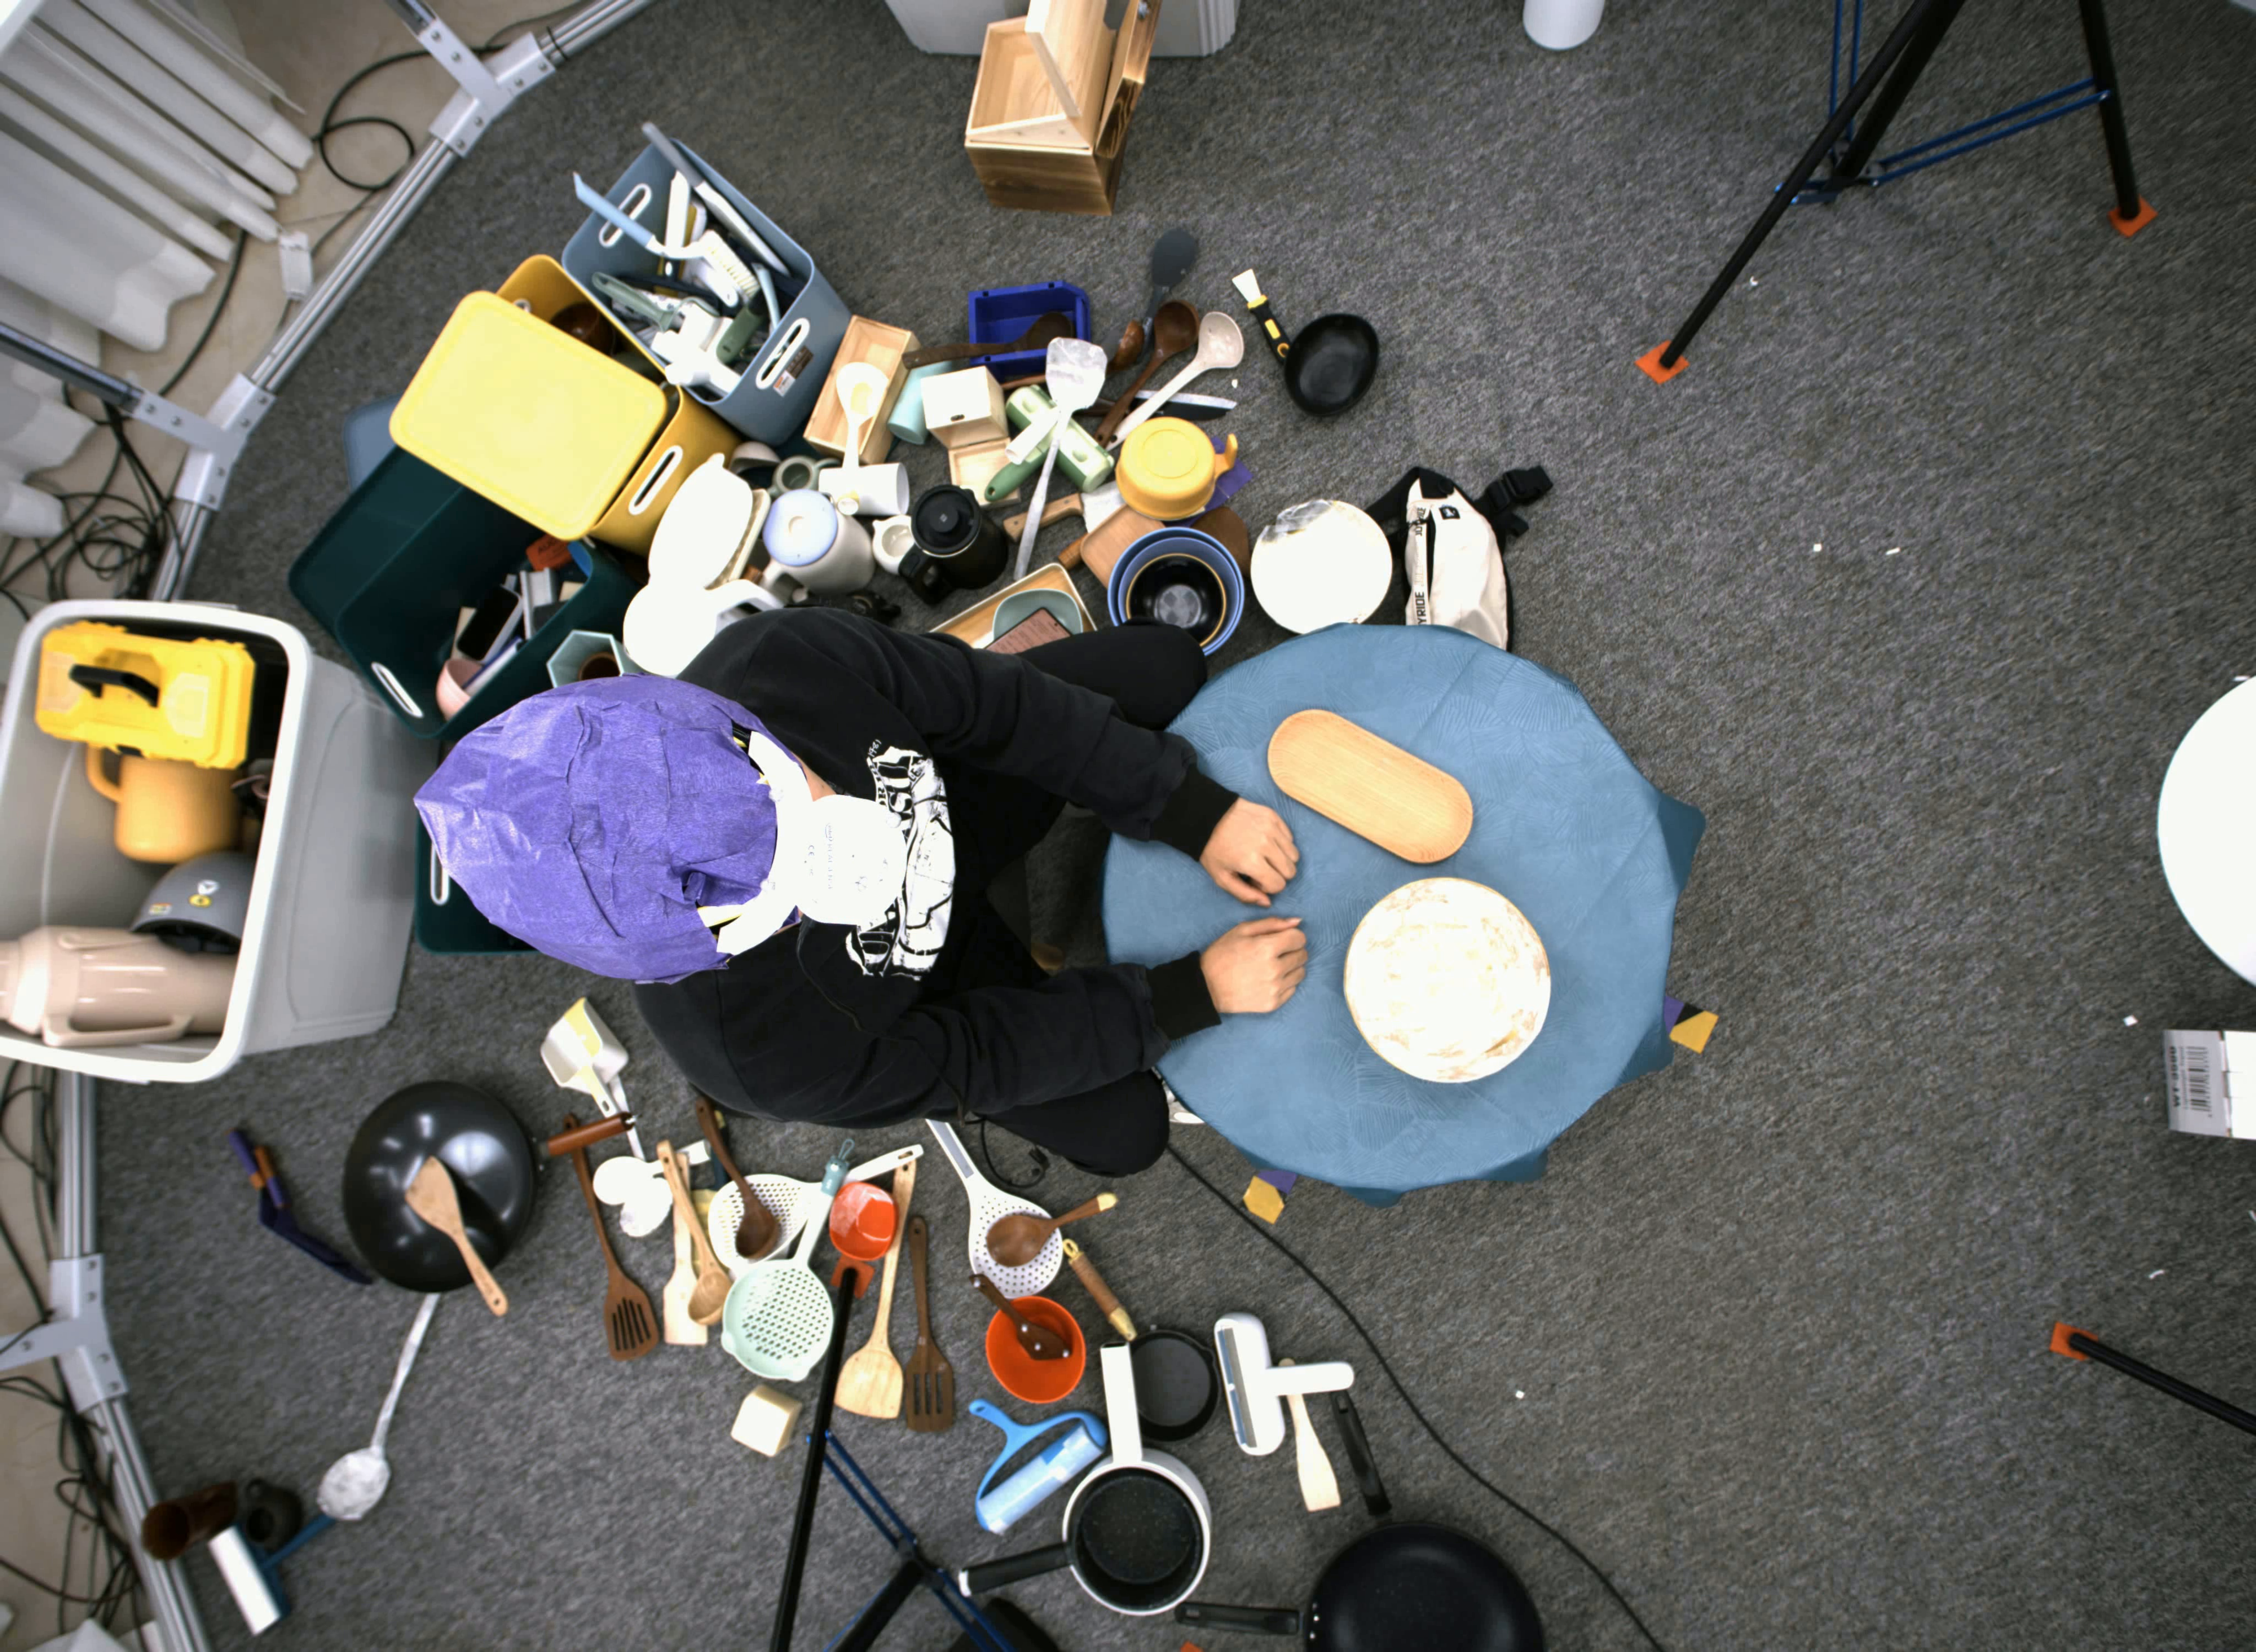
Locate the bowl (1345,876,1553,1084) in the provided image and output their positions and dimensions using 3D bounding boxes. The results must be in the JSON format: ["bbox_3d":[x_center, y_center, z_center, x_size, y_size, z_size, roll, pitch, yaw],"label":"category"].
[{"bbox_3d":[0.322,0.151,1.402,0.215,0.094,0.214,-1,87,11],"label":"bowl"}]

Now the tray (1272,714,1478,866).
[{"bbox_3d":[0.262,-0.040,1.466,0.231,0.020,0.102,28,93,9],"label":"tray"}]
